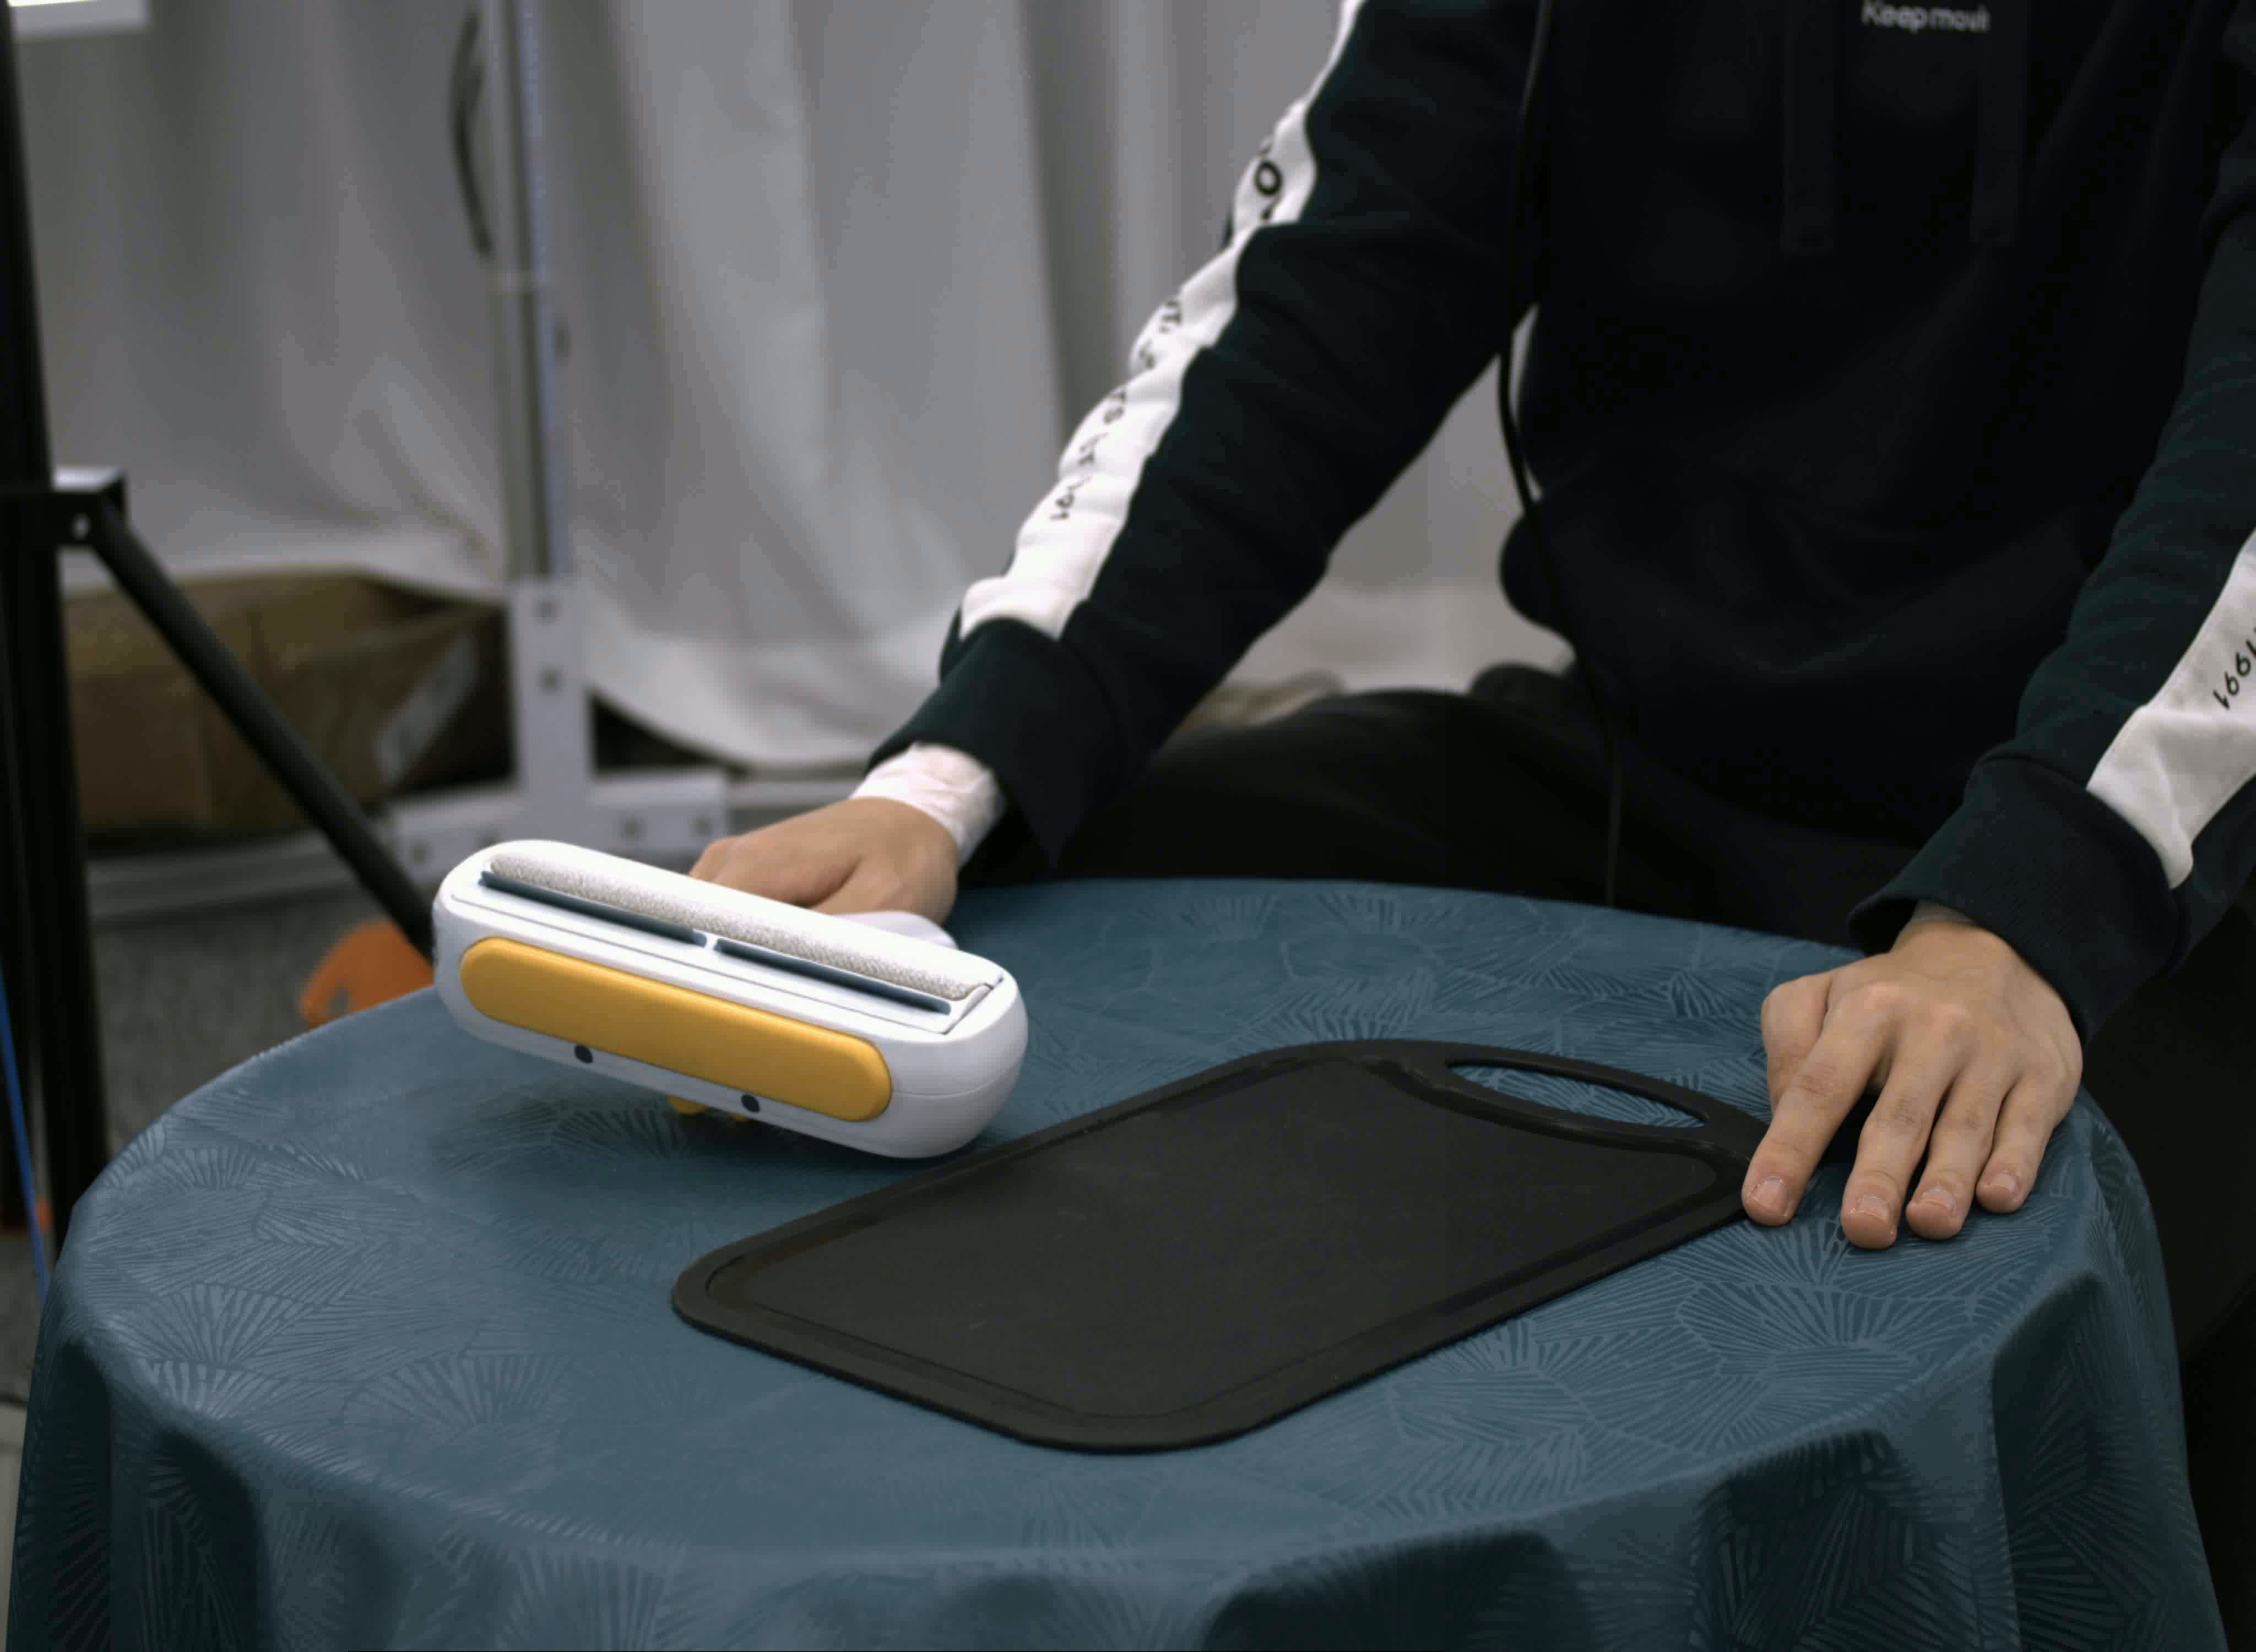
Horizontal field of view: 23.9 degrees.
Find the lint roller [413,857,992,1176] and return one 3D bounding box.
[{"bbox_3d":[-0.106,0.063,1.681,0.196,0.074,0.188,14,7,27],"label":"lint roller"}]

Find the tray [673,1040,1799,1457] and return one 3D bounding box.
[{"bbox_3d":[0.040,0.112,1.526,0.318,0.010,0.216,-17,21,-41],"label":"tray"}]
